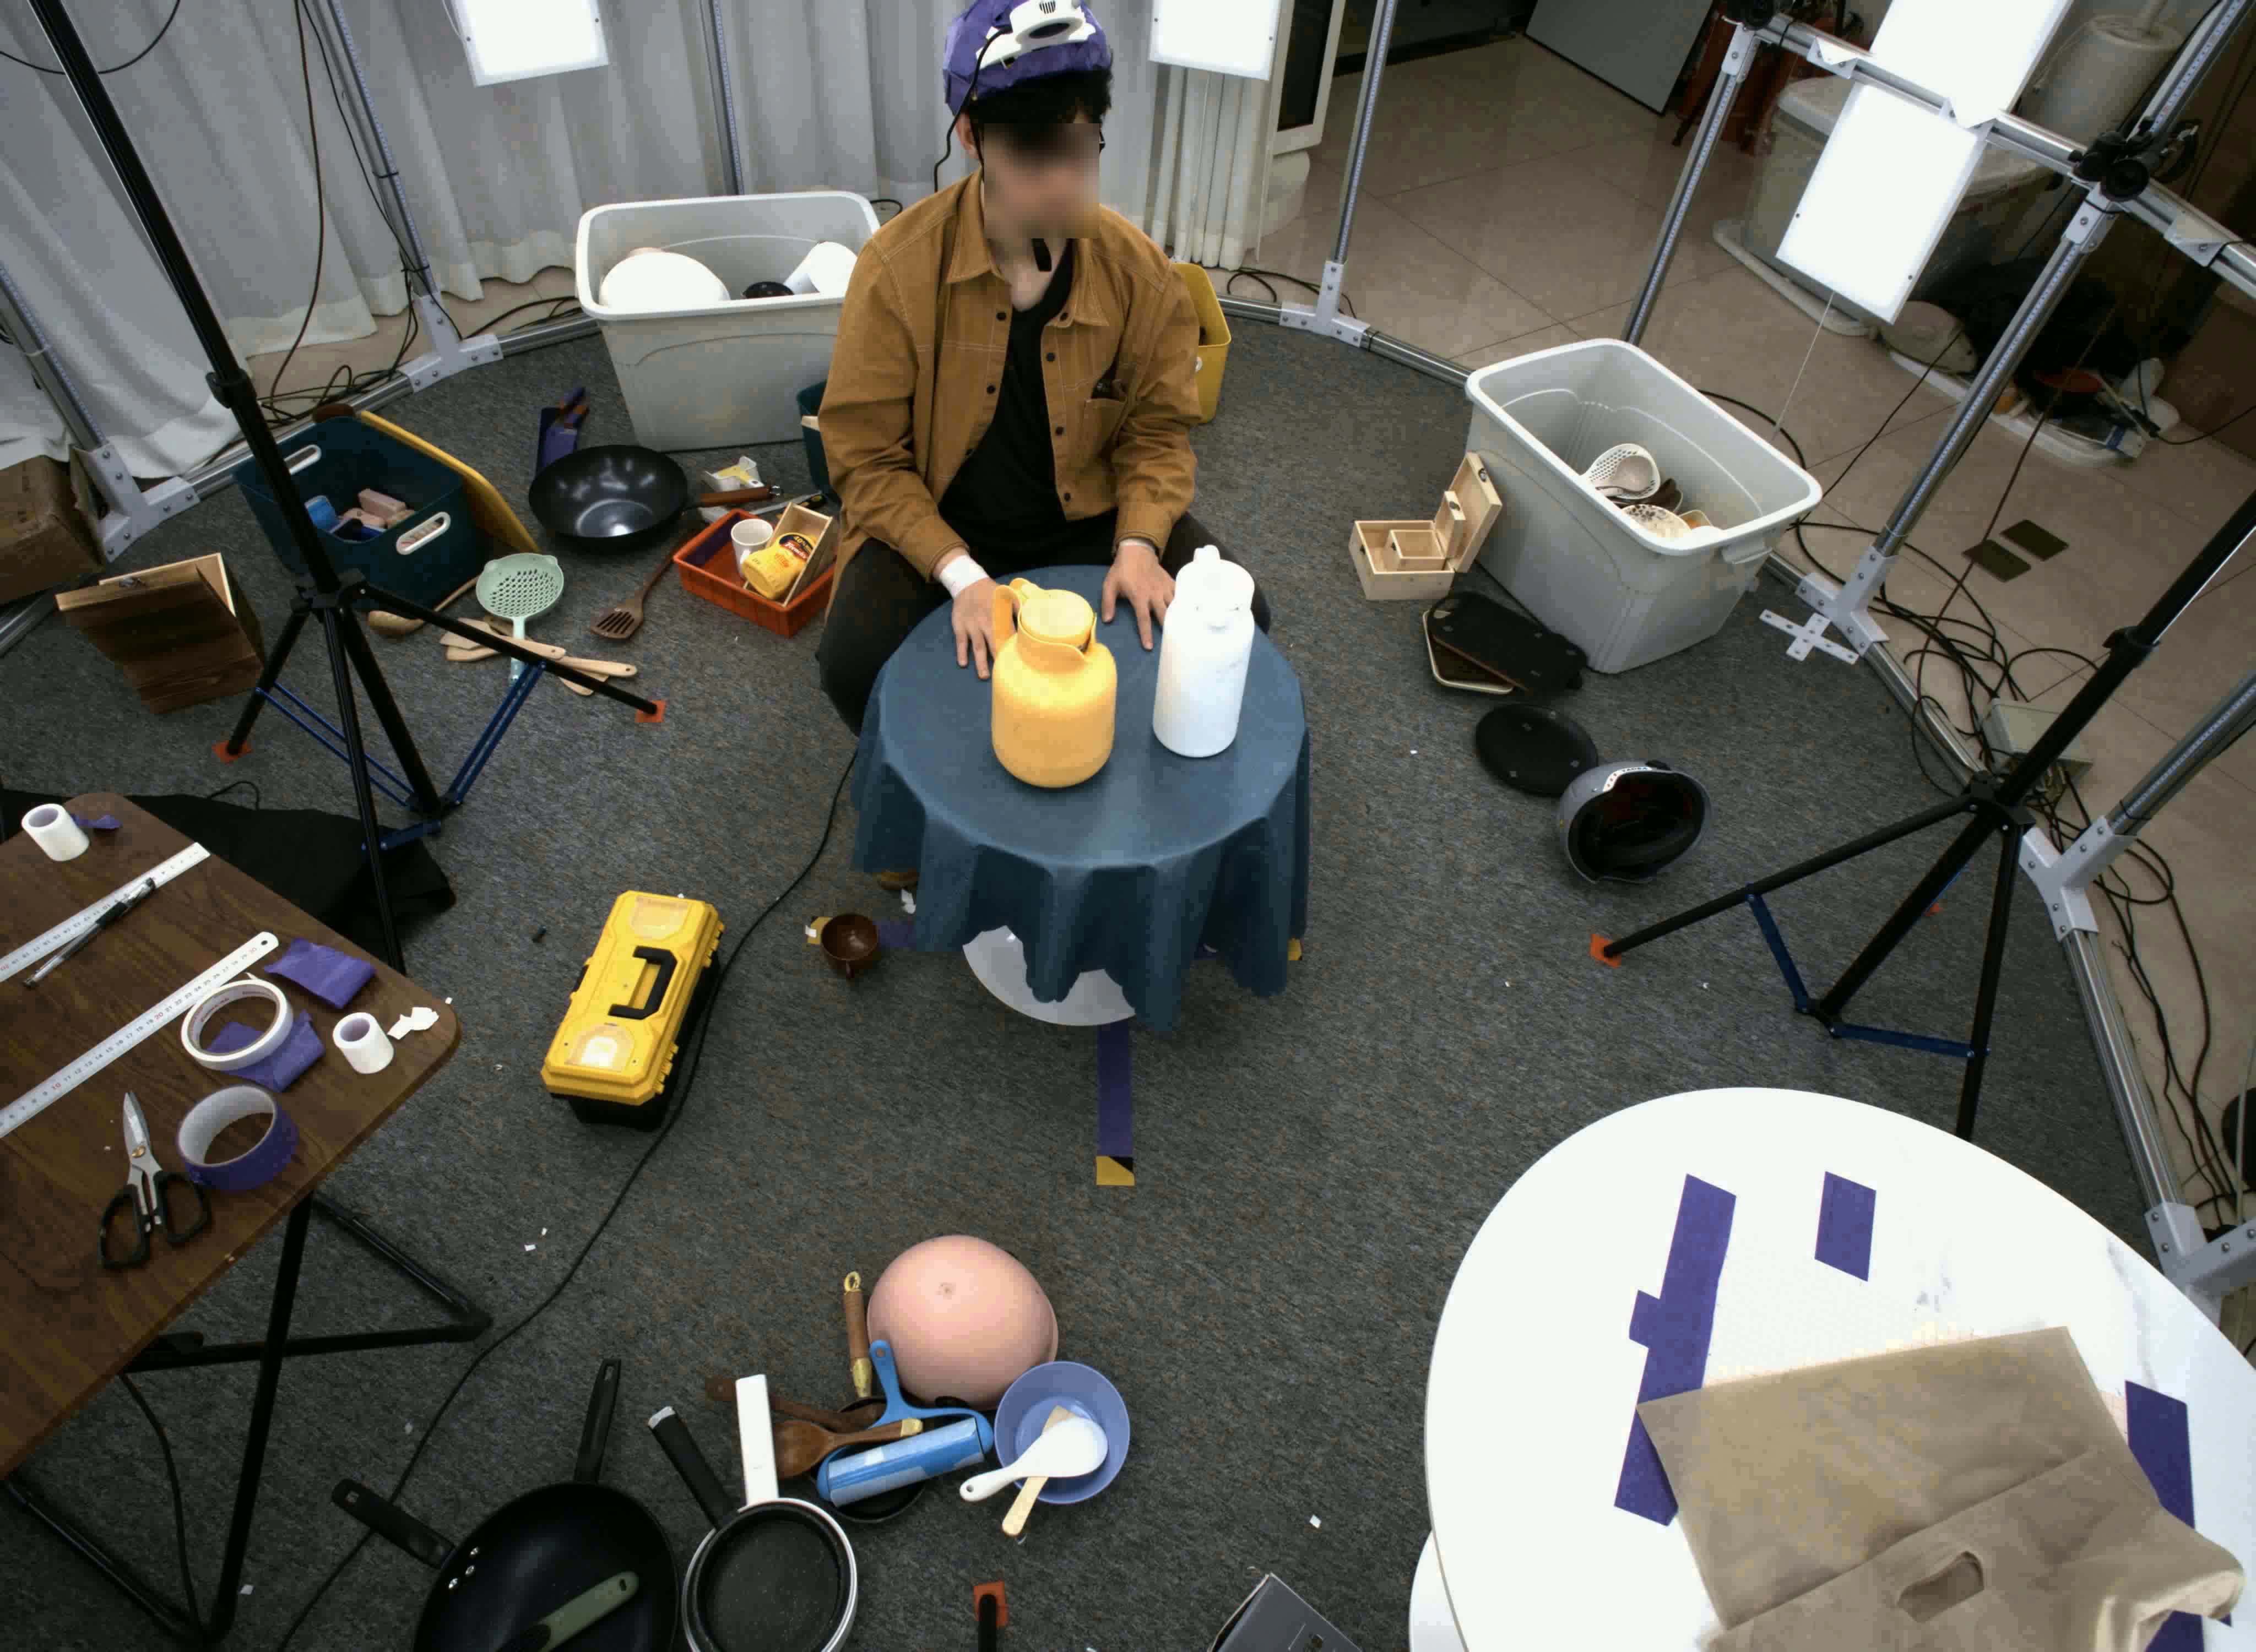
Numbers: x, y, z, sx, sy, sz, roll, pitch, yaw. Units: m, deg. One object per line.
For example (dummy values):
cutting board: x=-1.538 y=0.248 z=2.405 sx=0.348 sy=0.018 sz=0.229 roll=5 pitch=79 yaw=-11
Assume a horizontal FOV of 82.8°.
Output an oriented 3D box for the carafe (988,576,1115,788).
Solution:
carafe: x=-0.108 y=-0.194 z=1.662 sx=0.164 sy=0.254 sz=0.206 roll=-25 pitch=57 yaw=-27

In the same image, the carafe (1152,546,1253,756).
carafe: x=0.097 y=-0.233 z=1.705 sx=0.124 sy=0.262 sz=0.177 roll=-2 pitch=49 yaw=-3
